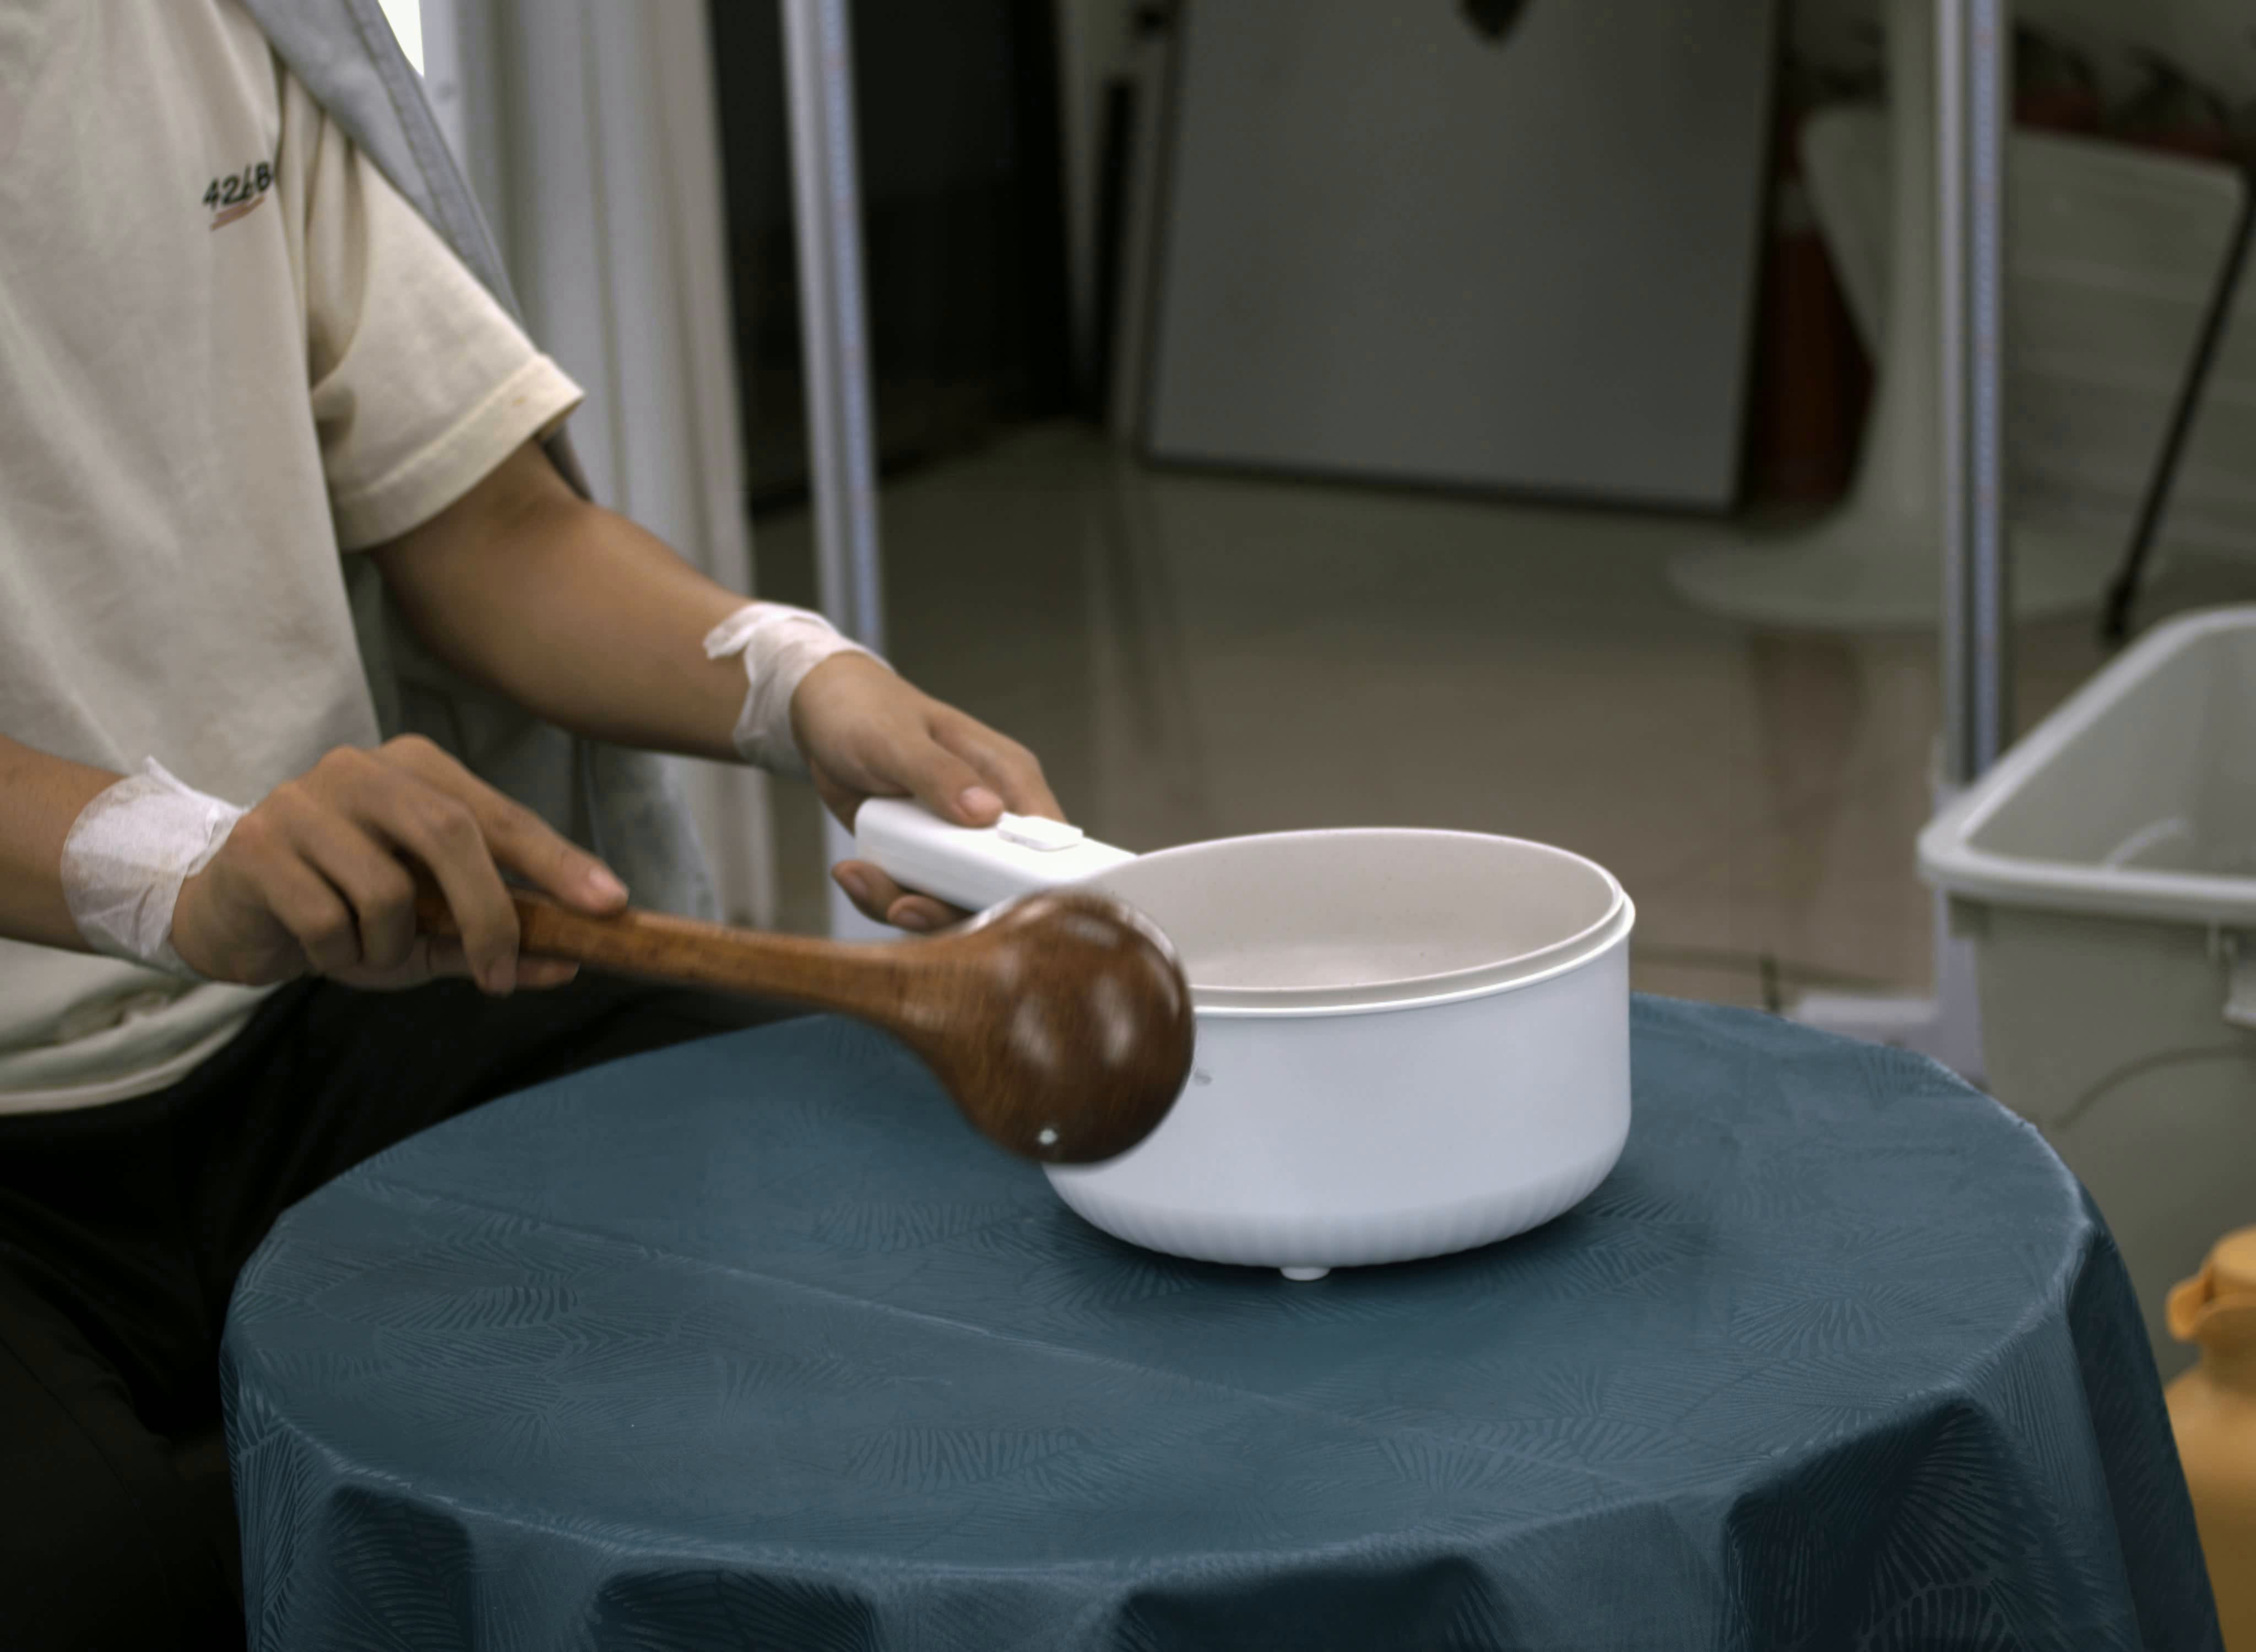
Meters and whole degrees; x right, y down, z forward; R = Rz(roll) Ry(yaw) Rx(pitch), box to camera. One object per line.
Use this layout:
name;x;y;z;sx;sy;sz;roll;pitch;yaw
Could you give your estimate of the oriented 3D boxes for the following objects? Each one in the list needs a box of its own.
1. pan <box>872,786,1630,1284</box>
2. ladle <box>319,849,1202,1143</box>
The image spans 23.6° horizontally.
pan;0.022;0.062;1.800;0.197;0.103;0.358;-13;16;-31
ladle;-0.107;0.038;1.596;0.275;0.083;0.075;6;-16;29
